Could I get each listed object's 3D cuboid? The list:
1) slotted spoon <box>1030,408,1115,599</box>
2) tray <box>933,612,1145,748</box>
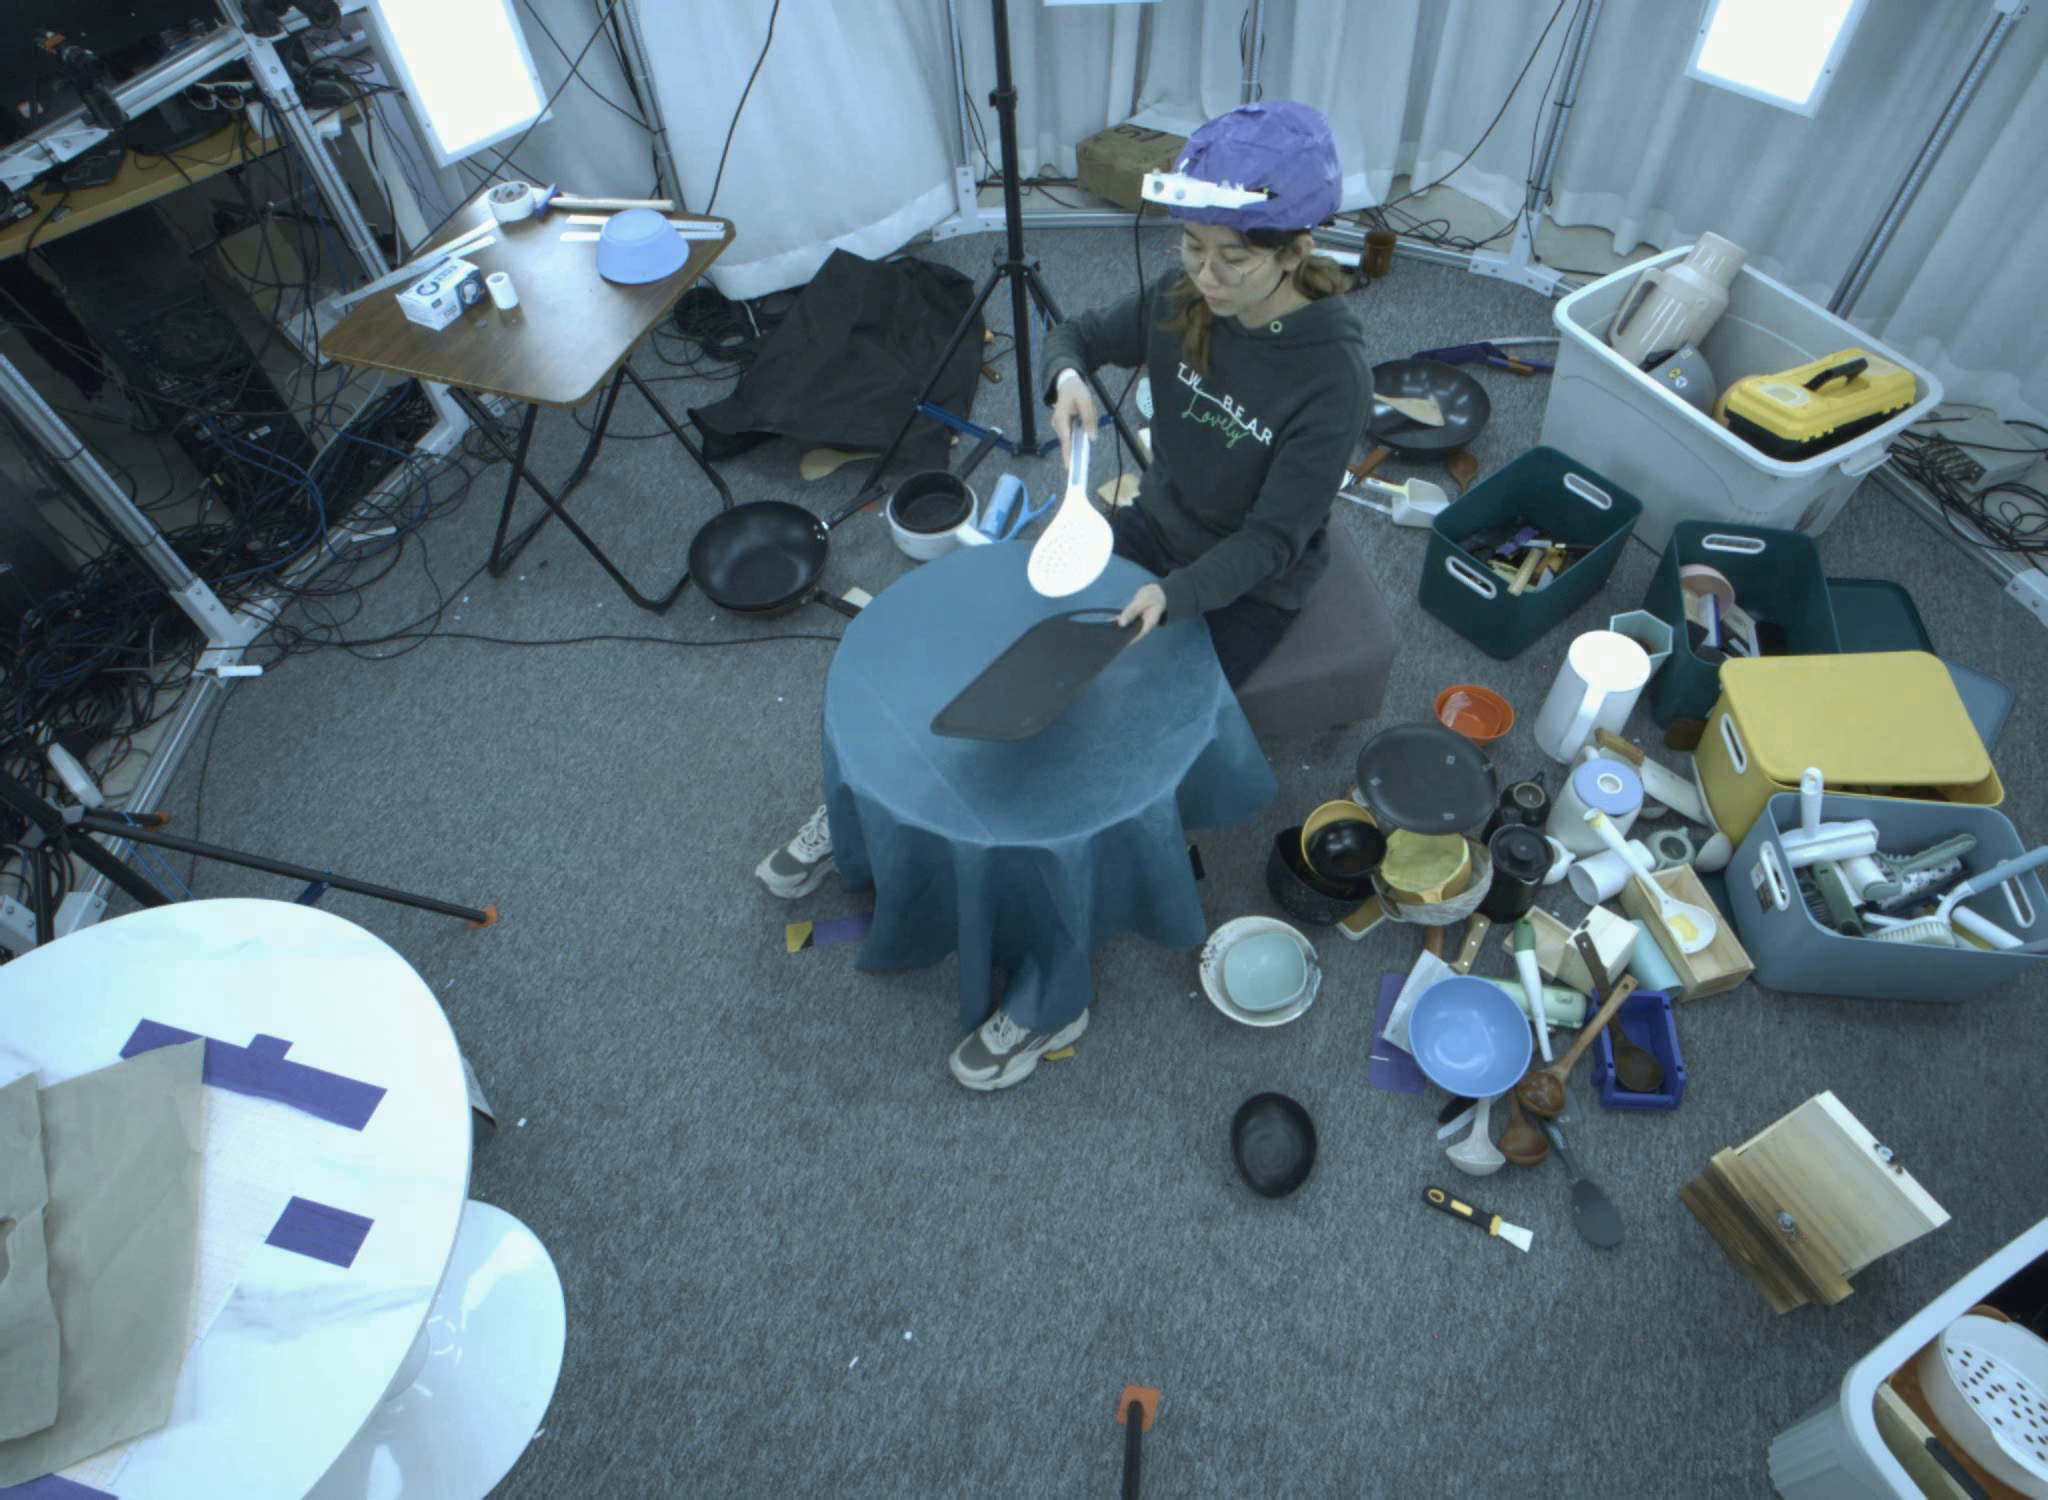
[{"bbox_3d":[0.079,-0.367,1.787,0.134,0.047,0.347,-10,66,28],"label":"slotted spoon"},{"bbox_3d":[0.026,-0.106,1.714,0.206,0.010,0.327,7,41,41],"label":"tray"}]
